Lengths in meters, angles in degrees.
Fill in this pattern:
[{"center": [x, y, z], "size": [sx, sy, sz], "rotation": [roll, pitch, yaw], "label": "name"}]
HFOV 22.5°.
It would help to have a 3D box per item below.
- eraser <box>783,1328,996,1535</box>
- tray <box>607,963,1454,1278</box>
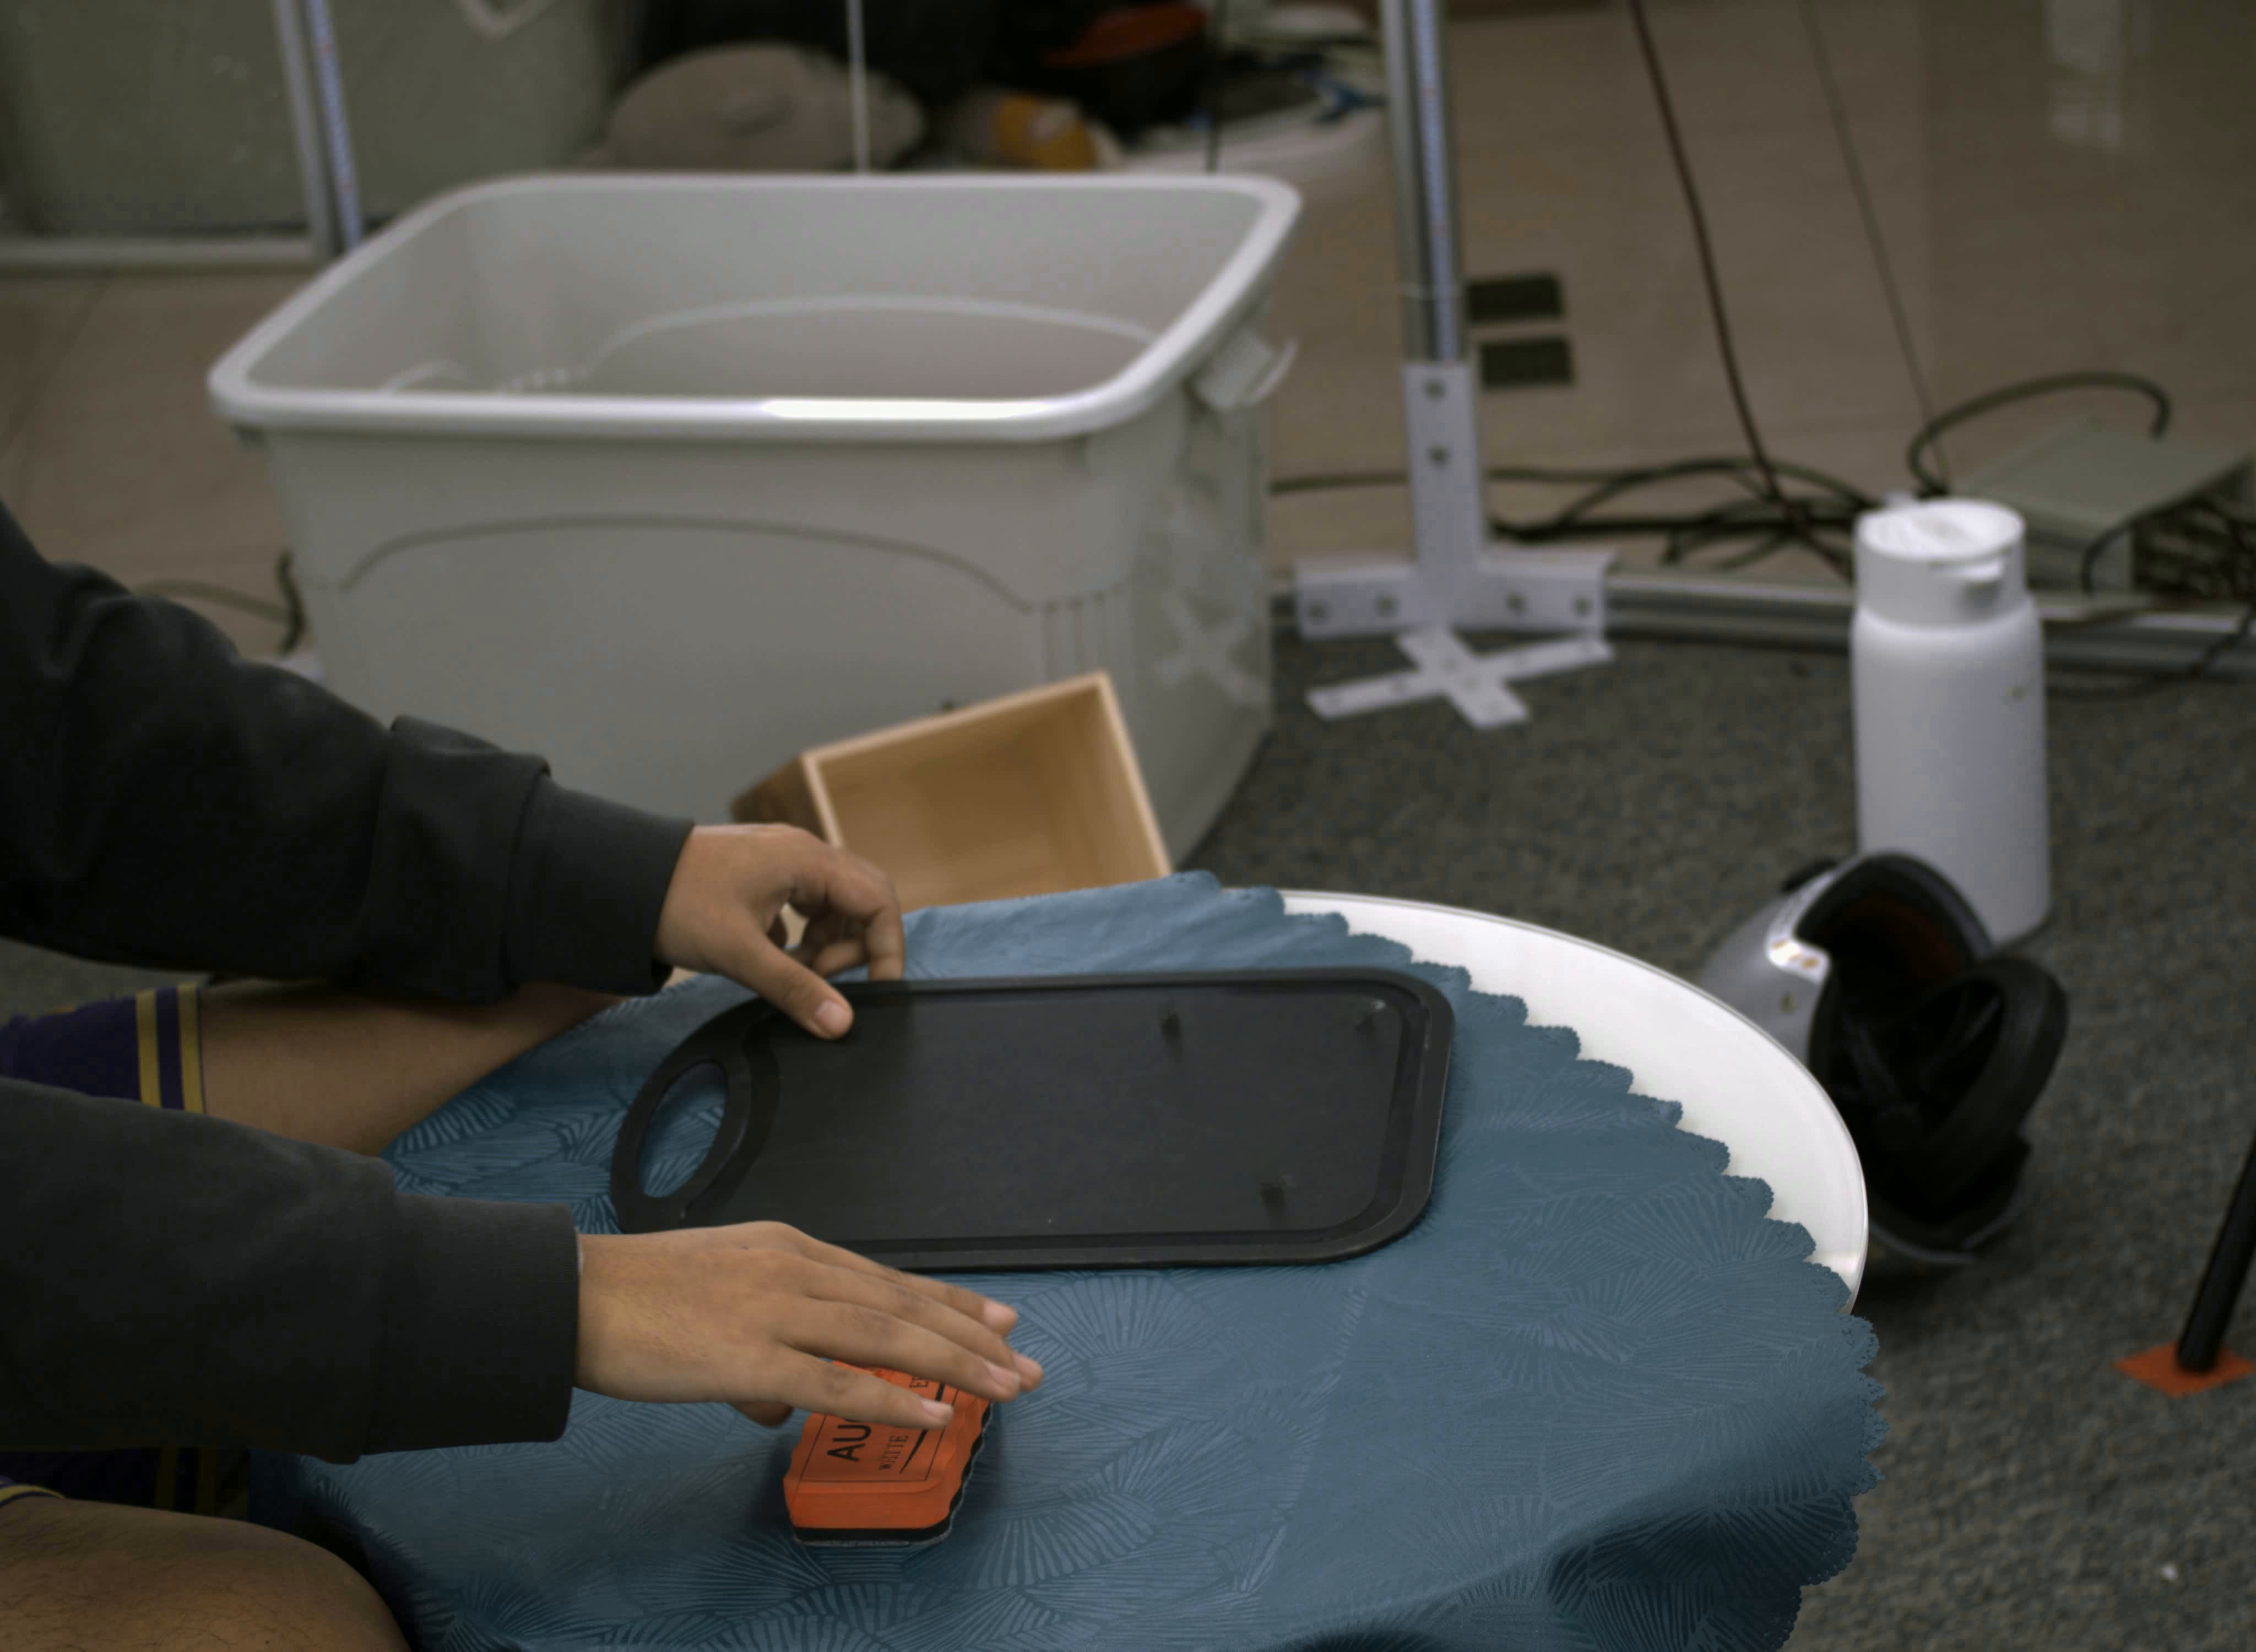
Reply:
[{"center": [-0.082, 0.210, 1.979], "size": [0.059, 0.023, 0.106], "rotation": [-2, 24, 11], "label": "eraser"}, {"center": [-0.040, 0.111, 2.188], "size": [0.325, 0.010, 0.207], "rotation": [-2, 30, 10], "label": "tray"}]
